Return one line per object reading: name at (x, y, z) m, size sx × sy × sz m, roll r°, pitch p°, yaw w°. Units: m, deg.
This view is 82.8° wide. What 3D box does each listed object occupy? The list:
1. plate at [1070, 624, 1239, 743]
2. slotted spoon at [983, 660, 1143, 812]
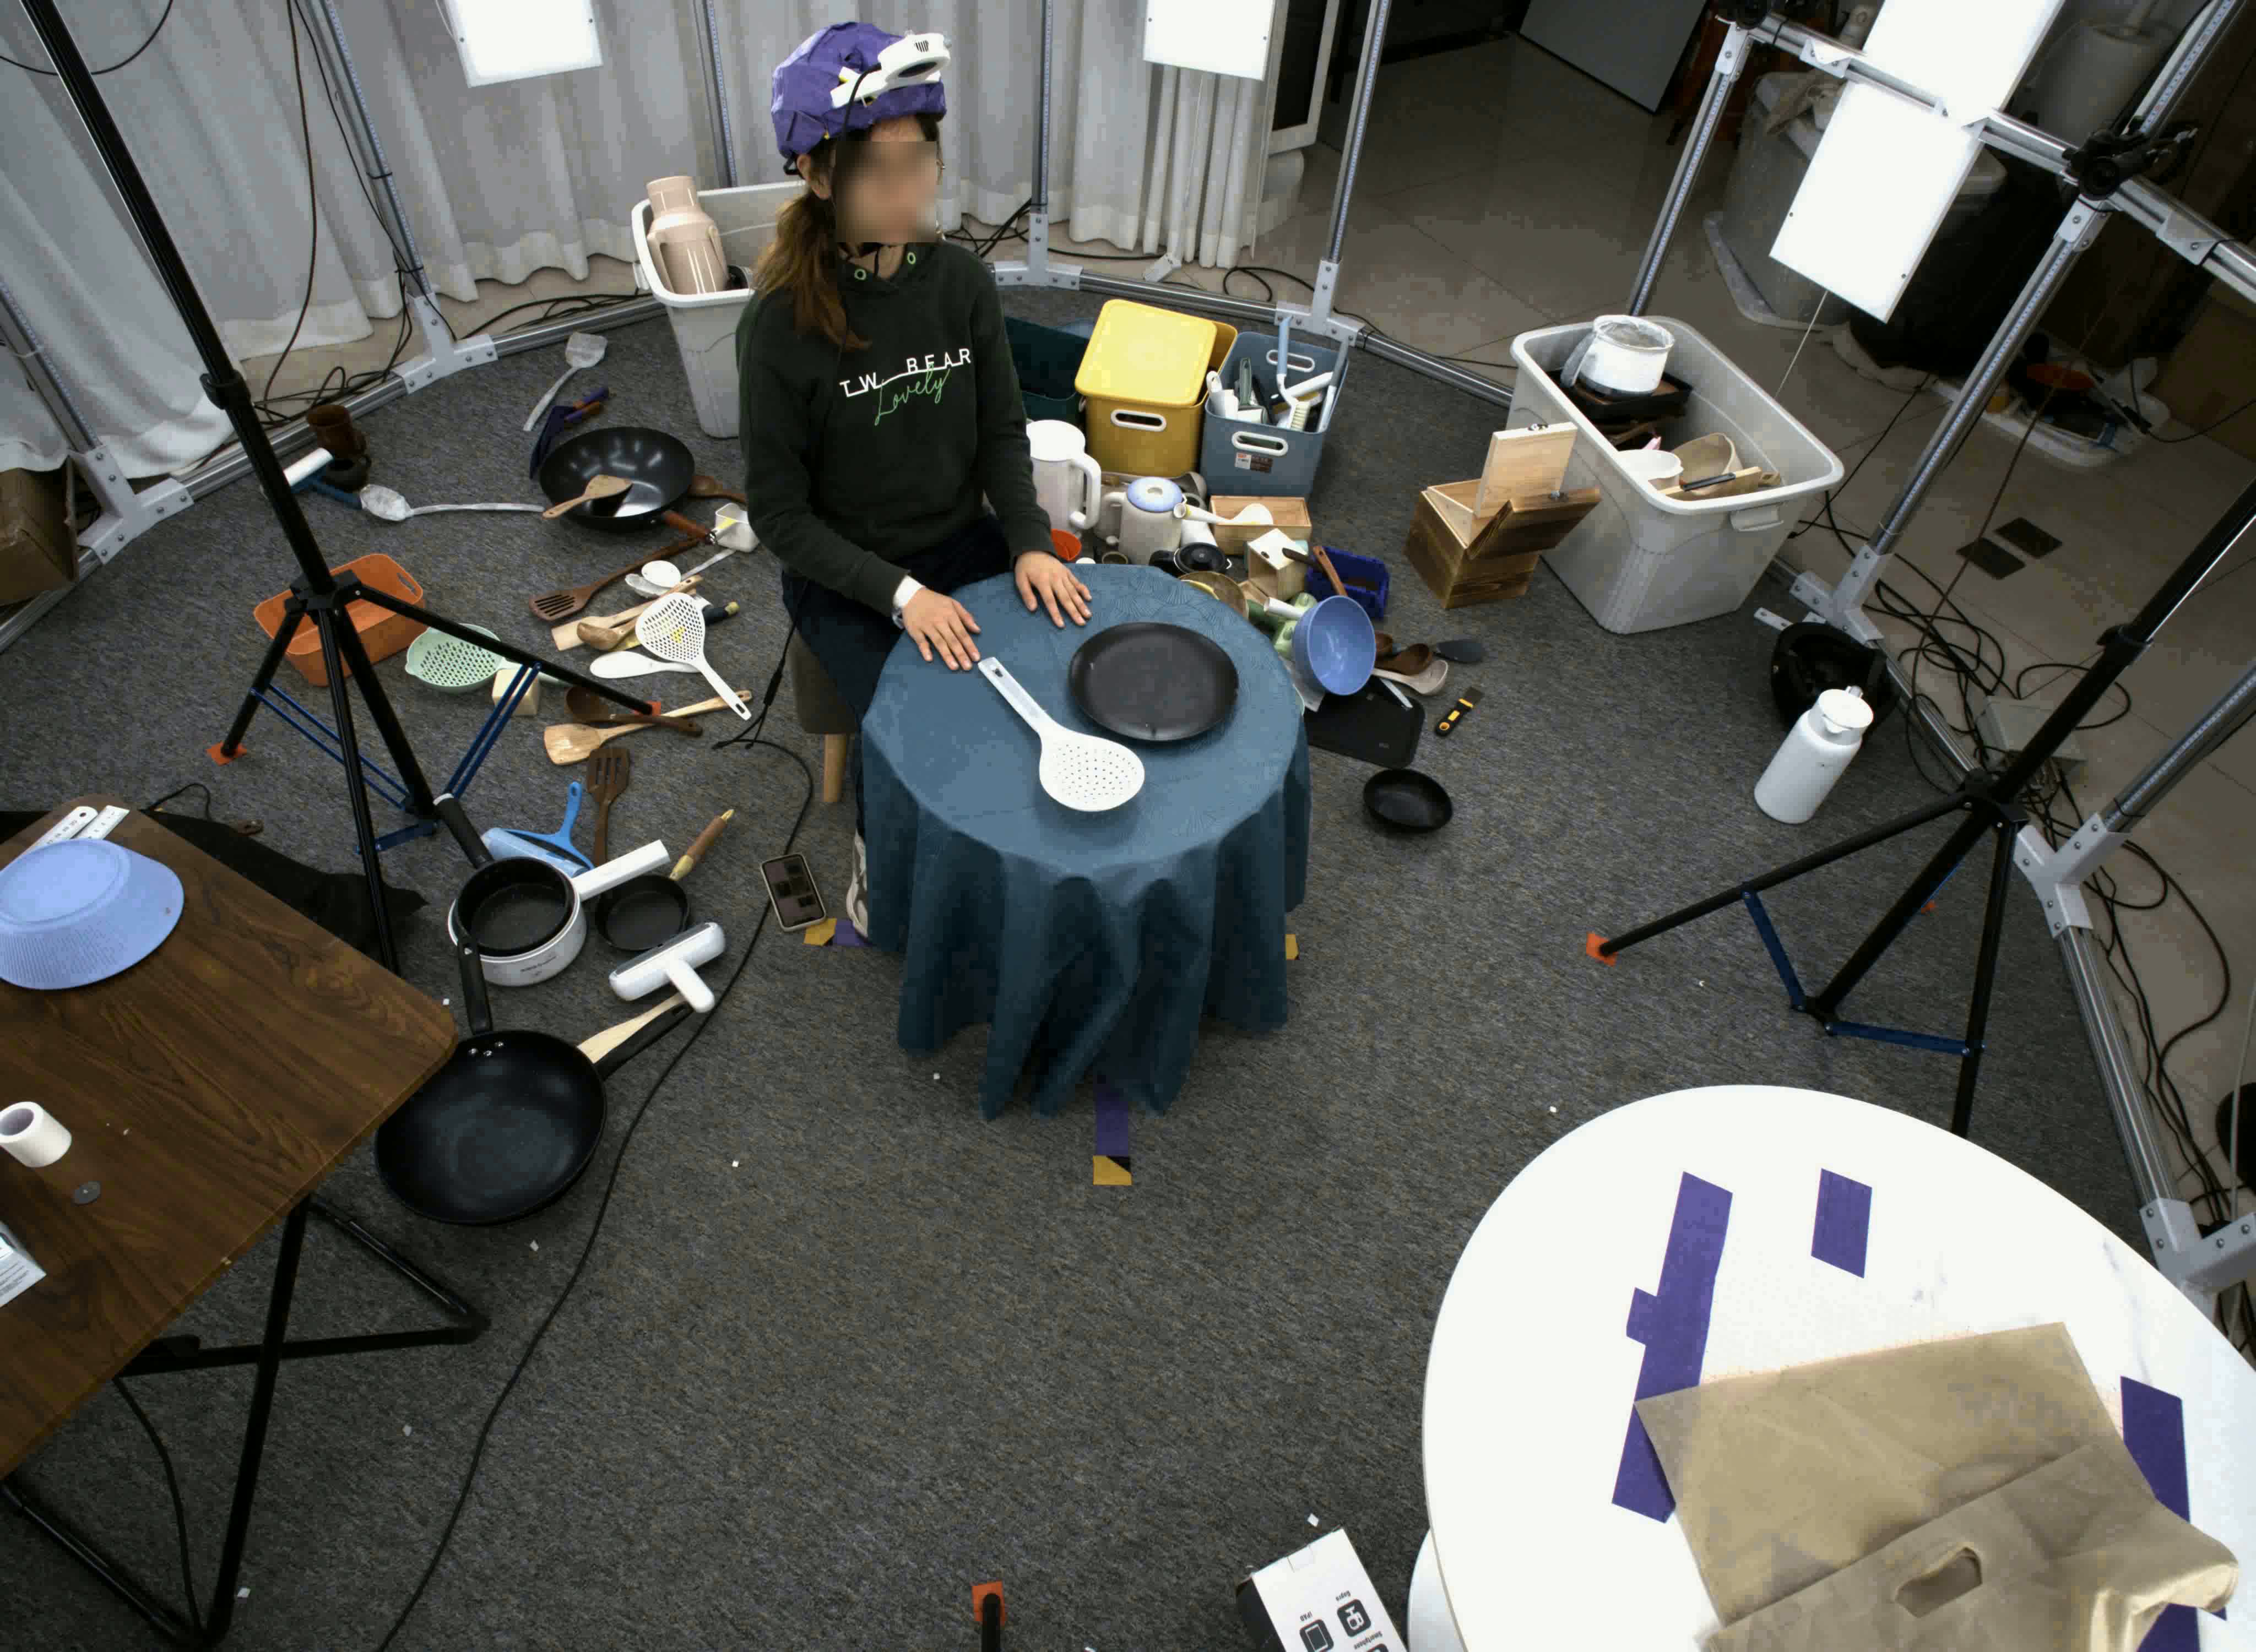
plate at (0.038, -0.203, 1.849) m, size 0.244 × 0.023 × 0.250 m, roll 2°, pitch 49°, yaw -2°
slotted spoon at (-0.107, -0.129, 1.760) m, size 0.136 × 0.044 × 0.357 m, roll -22°, pitch 53°, yaw -24°
